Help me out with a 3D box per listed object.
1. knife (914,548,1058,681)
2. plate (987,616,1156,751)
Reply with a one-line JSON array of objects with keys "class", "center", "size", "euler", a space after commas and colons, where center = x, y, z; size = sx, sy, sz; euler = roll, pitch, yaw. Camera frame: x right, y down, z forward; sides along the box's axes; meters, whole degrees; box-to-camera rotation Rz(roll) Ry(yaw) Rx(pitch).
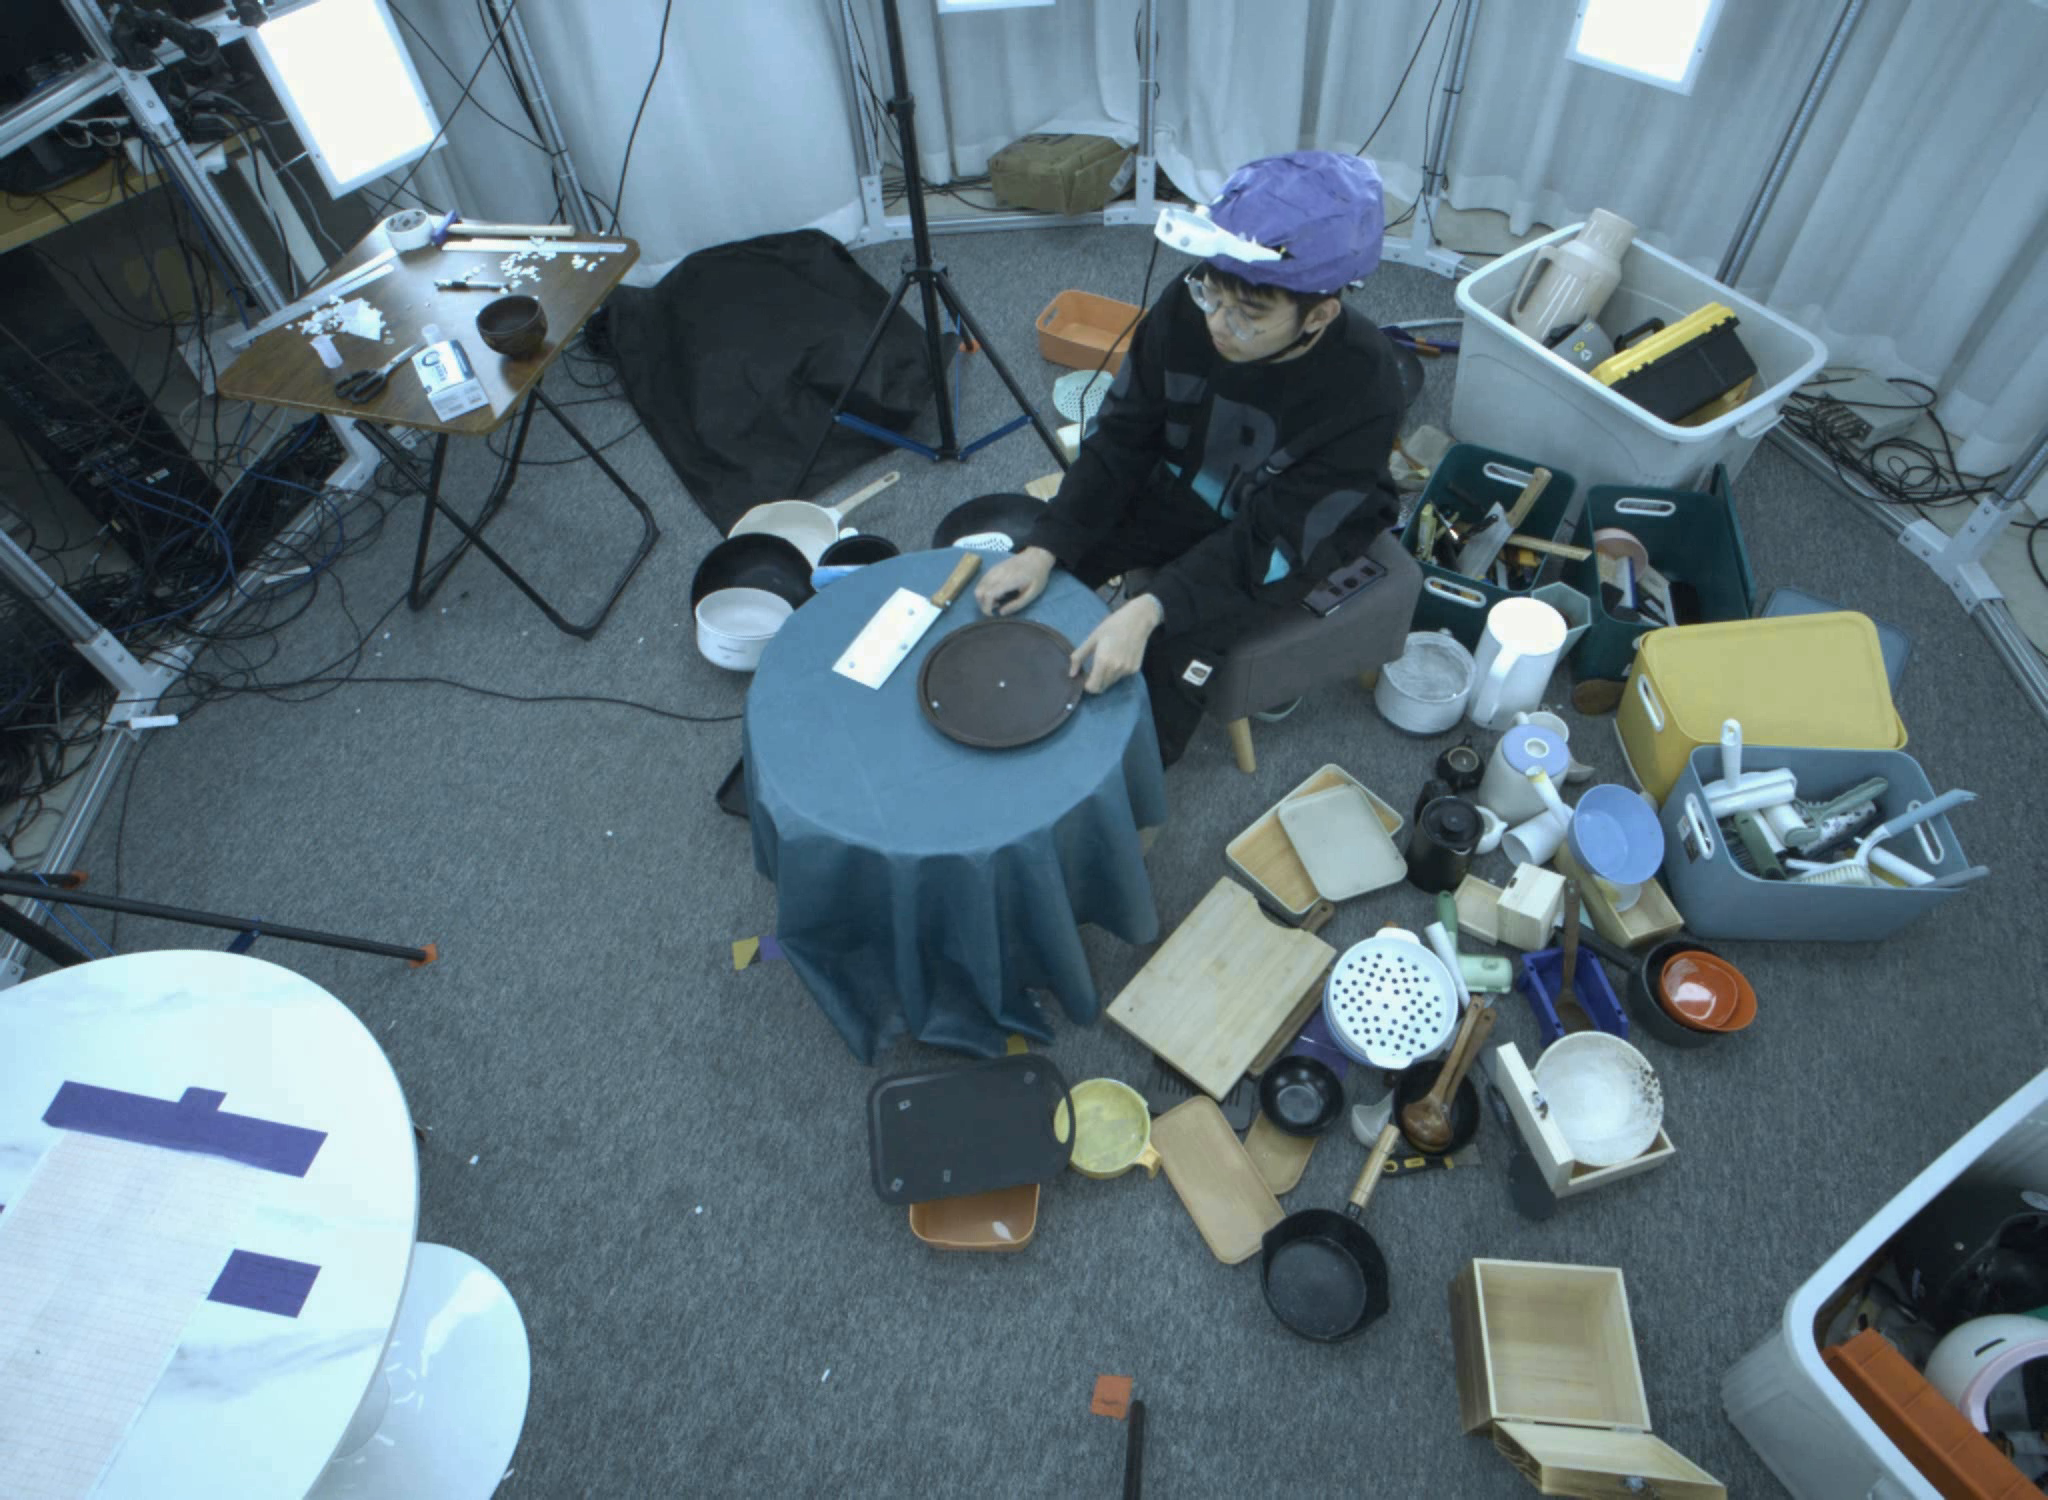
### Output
[{"class": "knife", "center": [-0.063, -0.226, 1.940], "size": [0.091, 0.021, 0.307], "euler": [29, 63, 22]}, {"class": "plate", "center": [0.071, -0.100, 1.840], "size": [0.255, 0.029, 0.252], "euler": [0, 56, 1]}]
